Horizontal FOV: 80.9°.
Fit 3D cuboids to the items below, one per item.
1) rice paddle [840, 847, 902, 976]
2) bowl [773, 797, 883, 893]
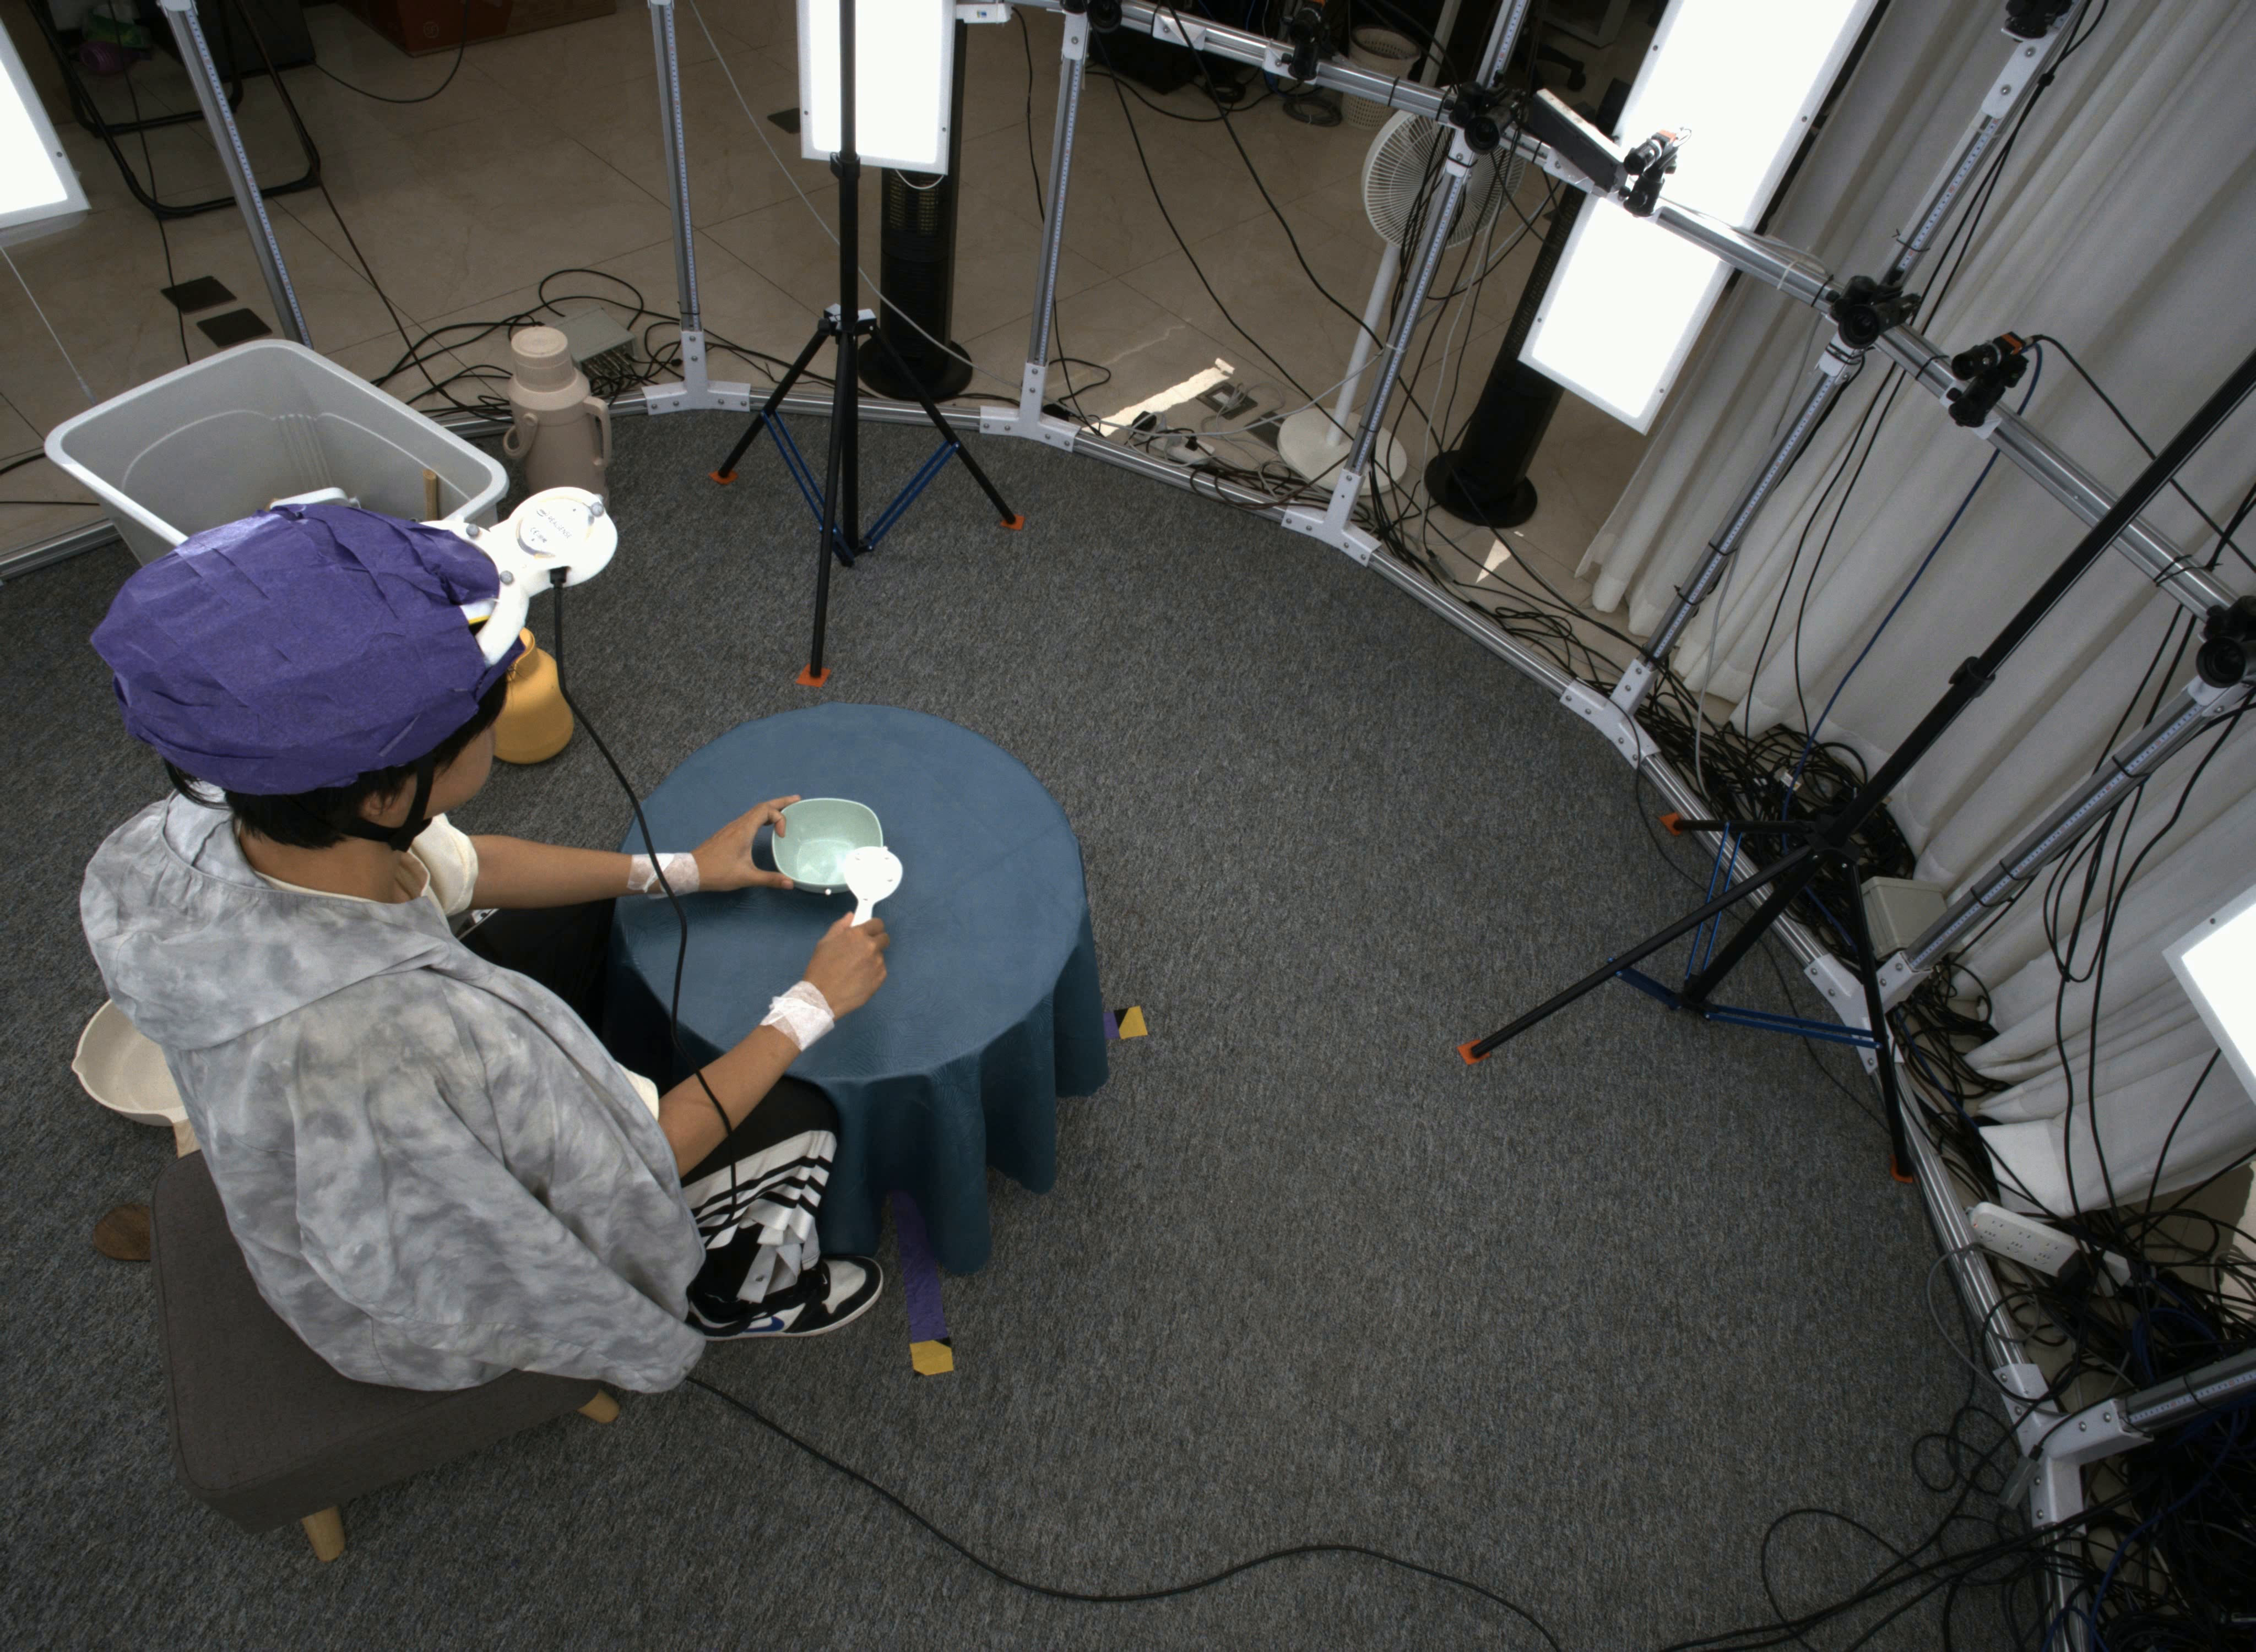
[{"bbox_3d":[-0.312,0.091,1.549,0.069,0.030,0.201,16,41,-13],"label":"rice paddle"},{"bbox_3d":[-0.387,0.034,1.674,0.151,0.059,0.149,9,53,-11],"label":"bowl"}]
